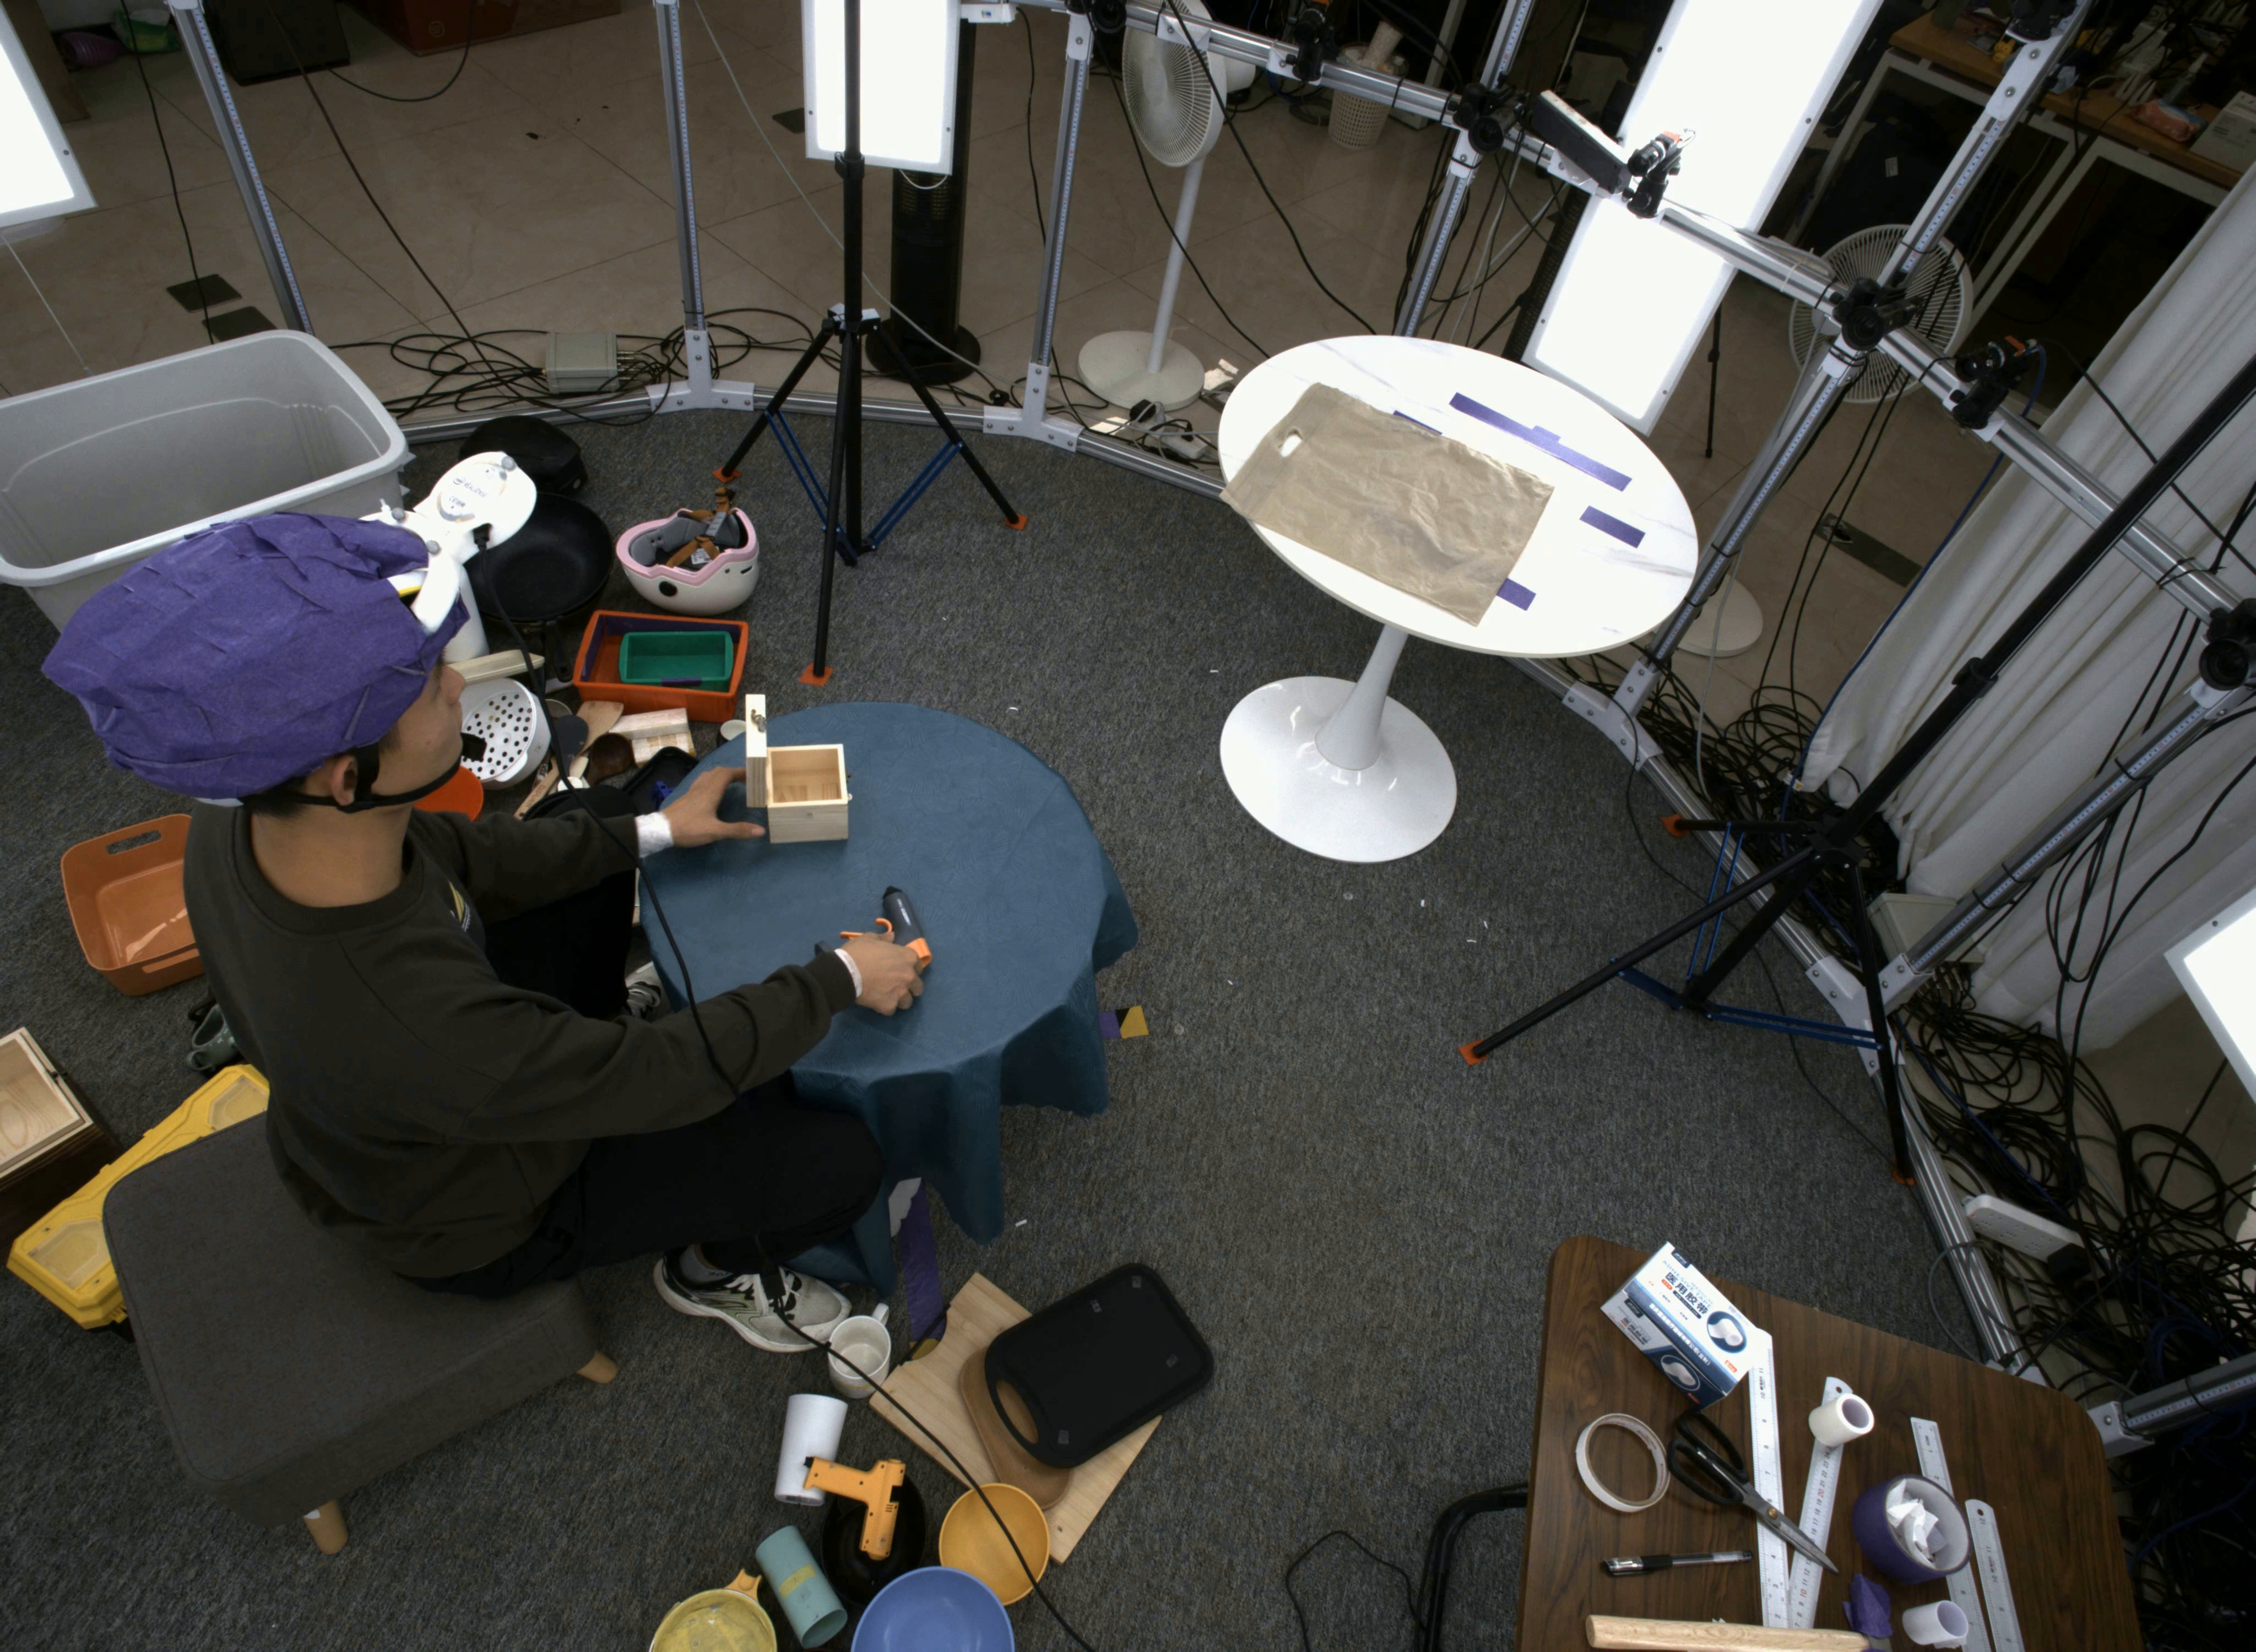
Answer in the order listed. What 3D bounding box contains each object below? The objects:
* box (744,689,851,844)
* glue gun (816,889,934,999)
[{"bbox_3d":[-0.422,-0.077,1.656,0.134,0.188,0.100,-5,53,-17],"label":"box"},{"bbox_3d":[-0.314,0.144,1.620,0.140,0.042,0.115,-31,64,-33],"label":"glue gun"}]
